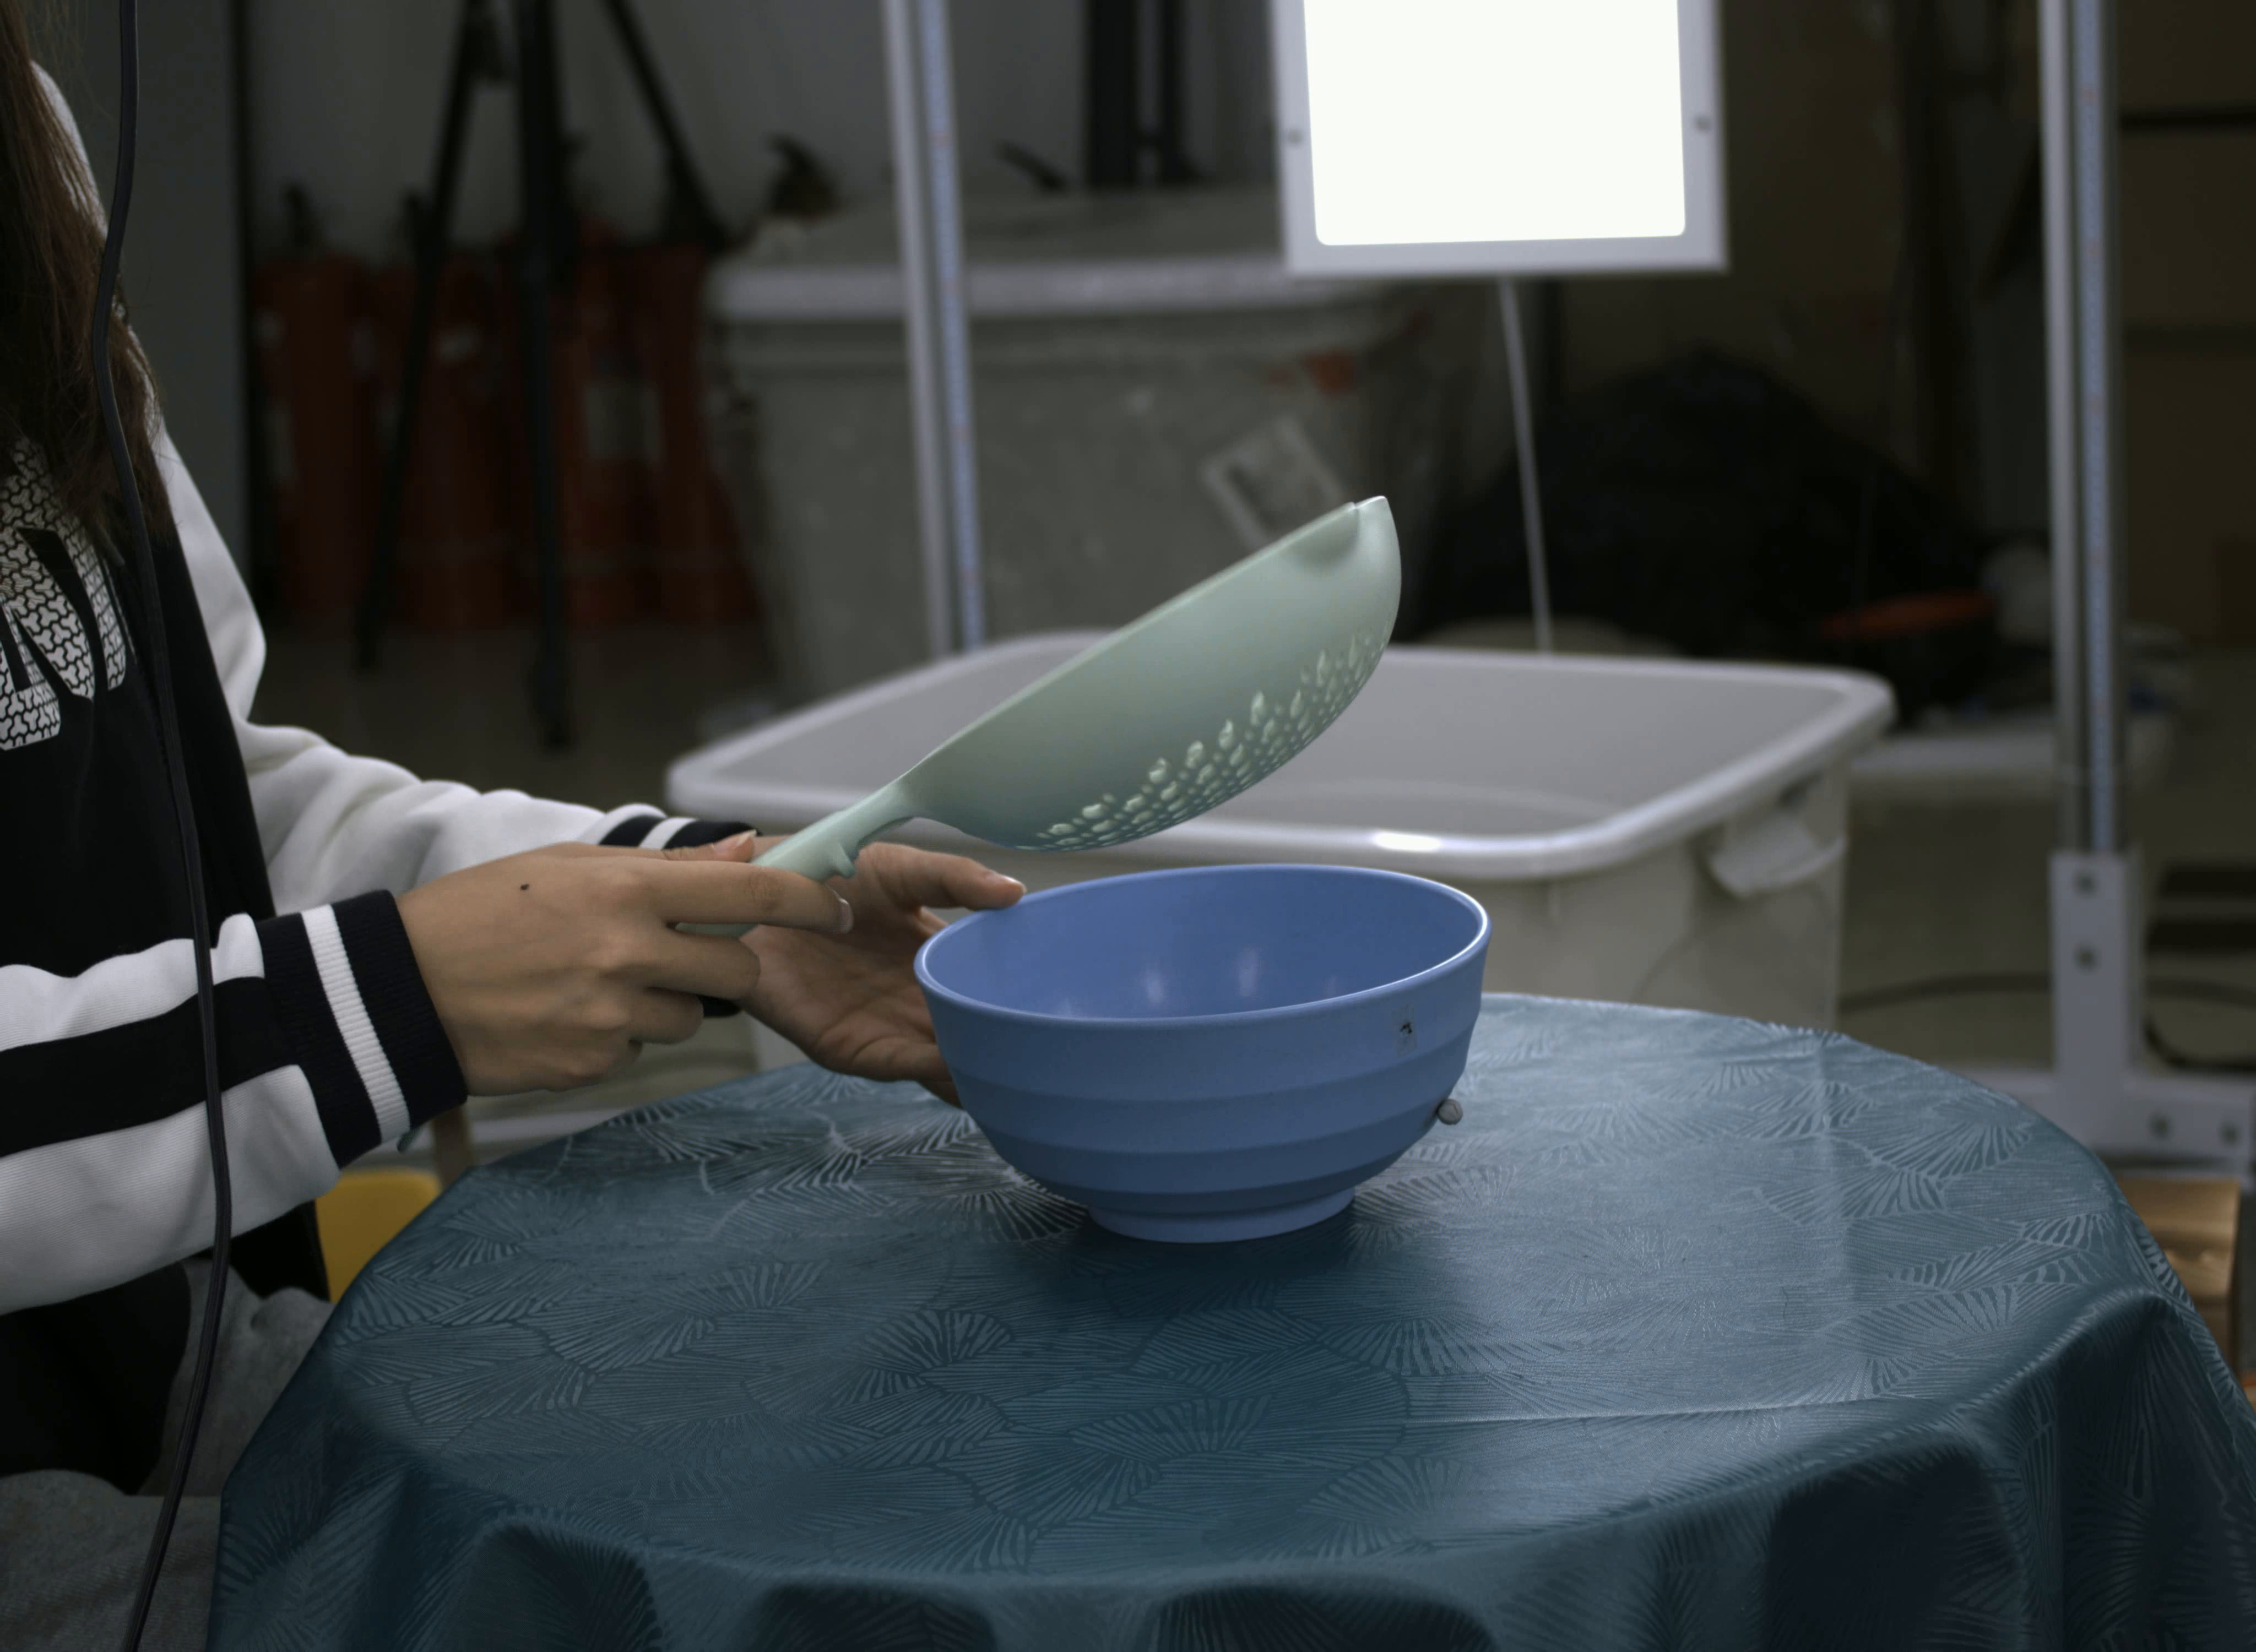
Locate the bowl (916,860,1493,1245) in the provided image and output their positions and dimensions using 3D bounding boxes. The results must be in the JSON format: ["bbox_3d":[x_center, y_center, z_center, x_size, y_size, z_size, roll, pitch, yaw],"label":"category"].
[{"bbox_3d":[0.029,0.083,1.867,0.196,0.096,0.196,-5,14,0],"label":"bowl"}]

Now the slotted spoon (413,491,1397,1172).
[{"bbox_3d":[-0.072,0.002,1.703,0.359,0.075,0.169,-24,1,2],"label":"slotted spoon"}]
